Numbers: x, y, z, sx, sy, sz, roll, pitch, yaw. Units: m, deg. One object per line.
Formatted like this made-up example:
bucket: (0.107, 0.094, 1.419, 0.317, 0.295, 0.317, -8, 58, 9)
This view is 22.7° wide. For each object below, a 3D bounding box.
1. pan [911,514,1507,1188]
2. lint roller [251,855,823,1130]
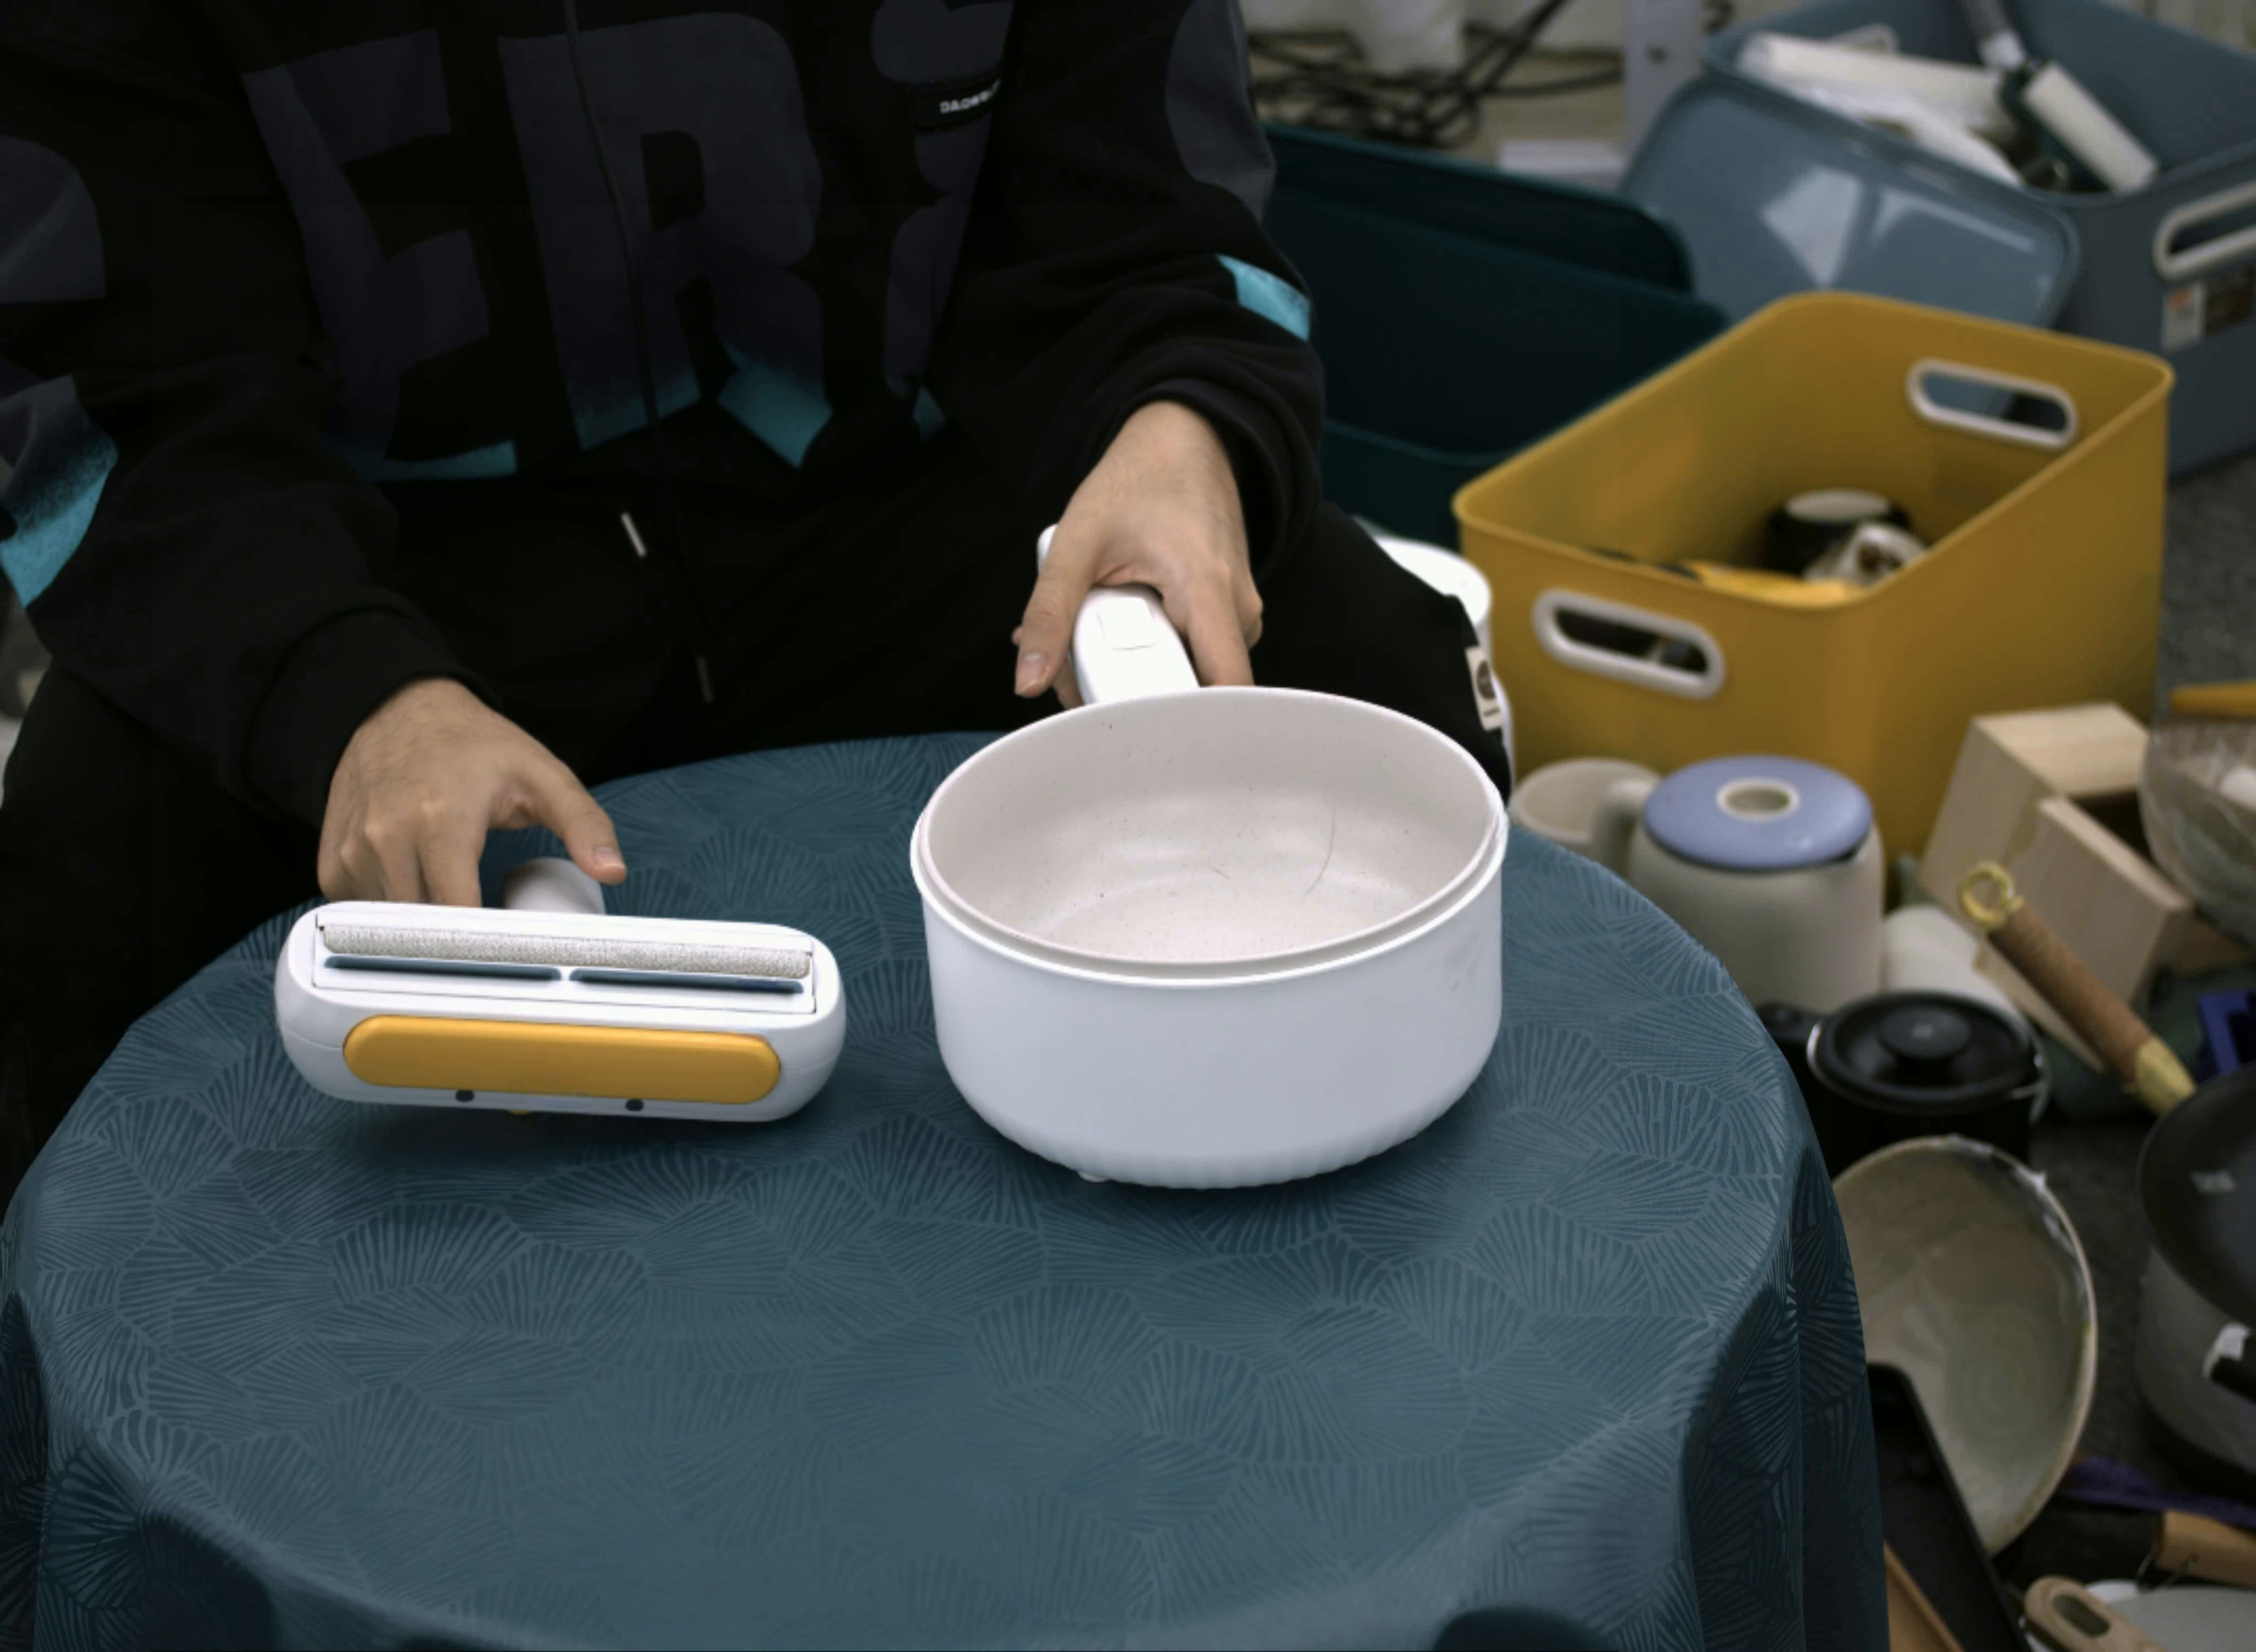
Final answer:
pan: (0.016, 0.006, 1.970, 0.201, 0.101, 0.359, -7, 27, -7)
lint roller: (-0.202, 0.044, 1.956, 0.192, 0.073, 0.195, 1, 26, -4)
